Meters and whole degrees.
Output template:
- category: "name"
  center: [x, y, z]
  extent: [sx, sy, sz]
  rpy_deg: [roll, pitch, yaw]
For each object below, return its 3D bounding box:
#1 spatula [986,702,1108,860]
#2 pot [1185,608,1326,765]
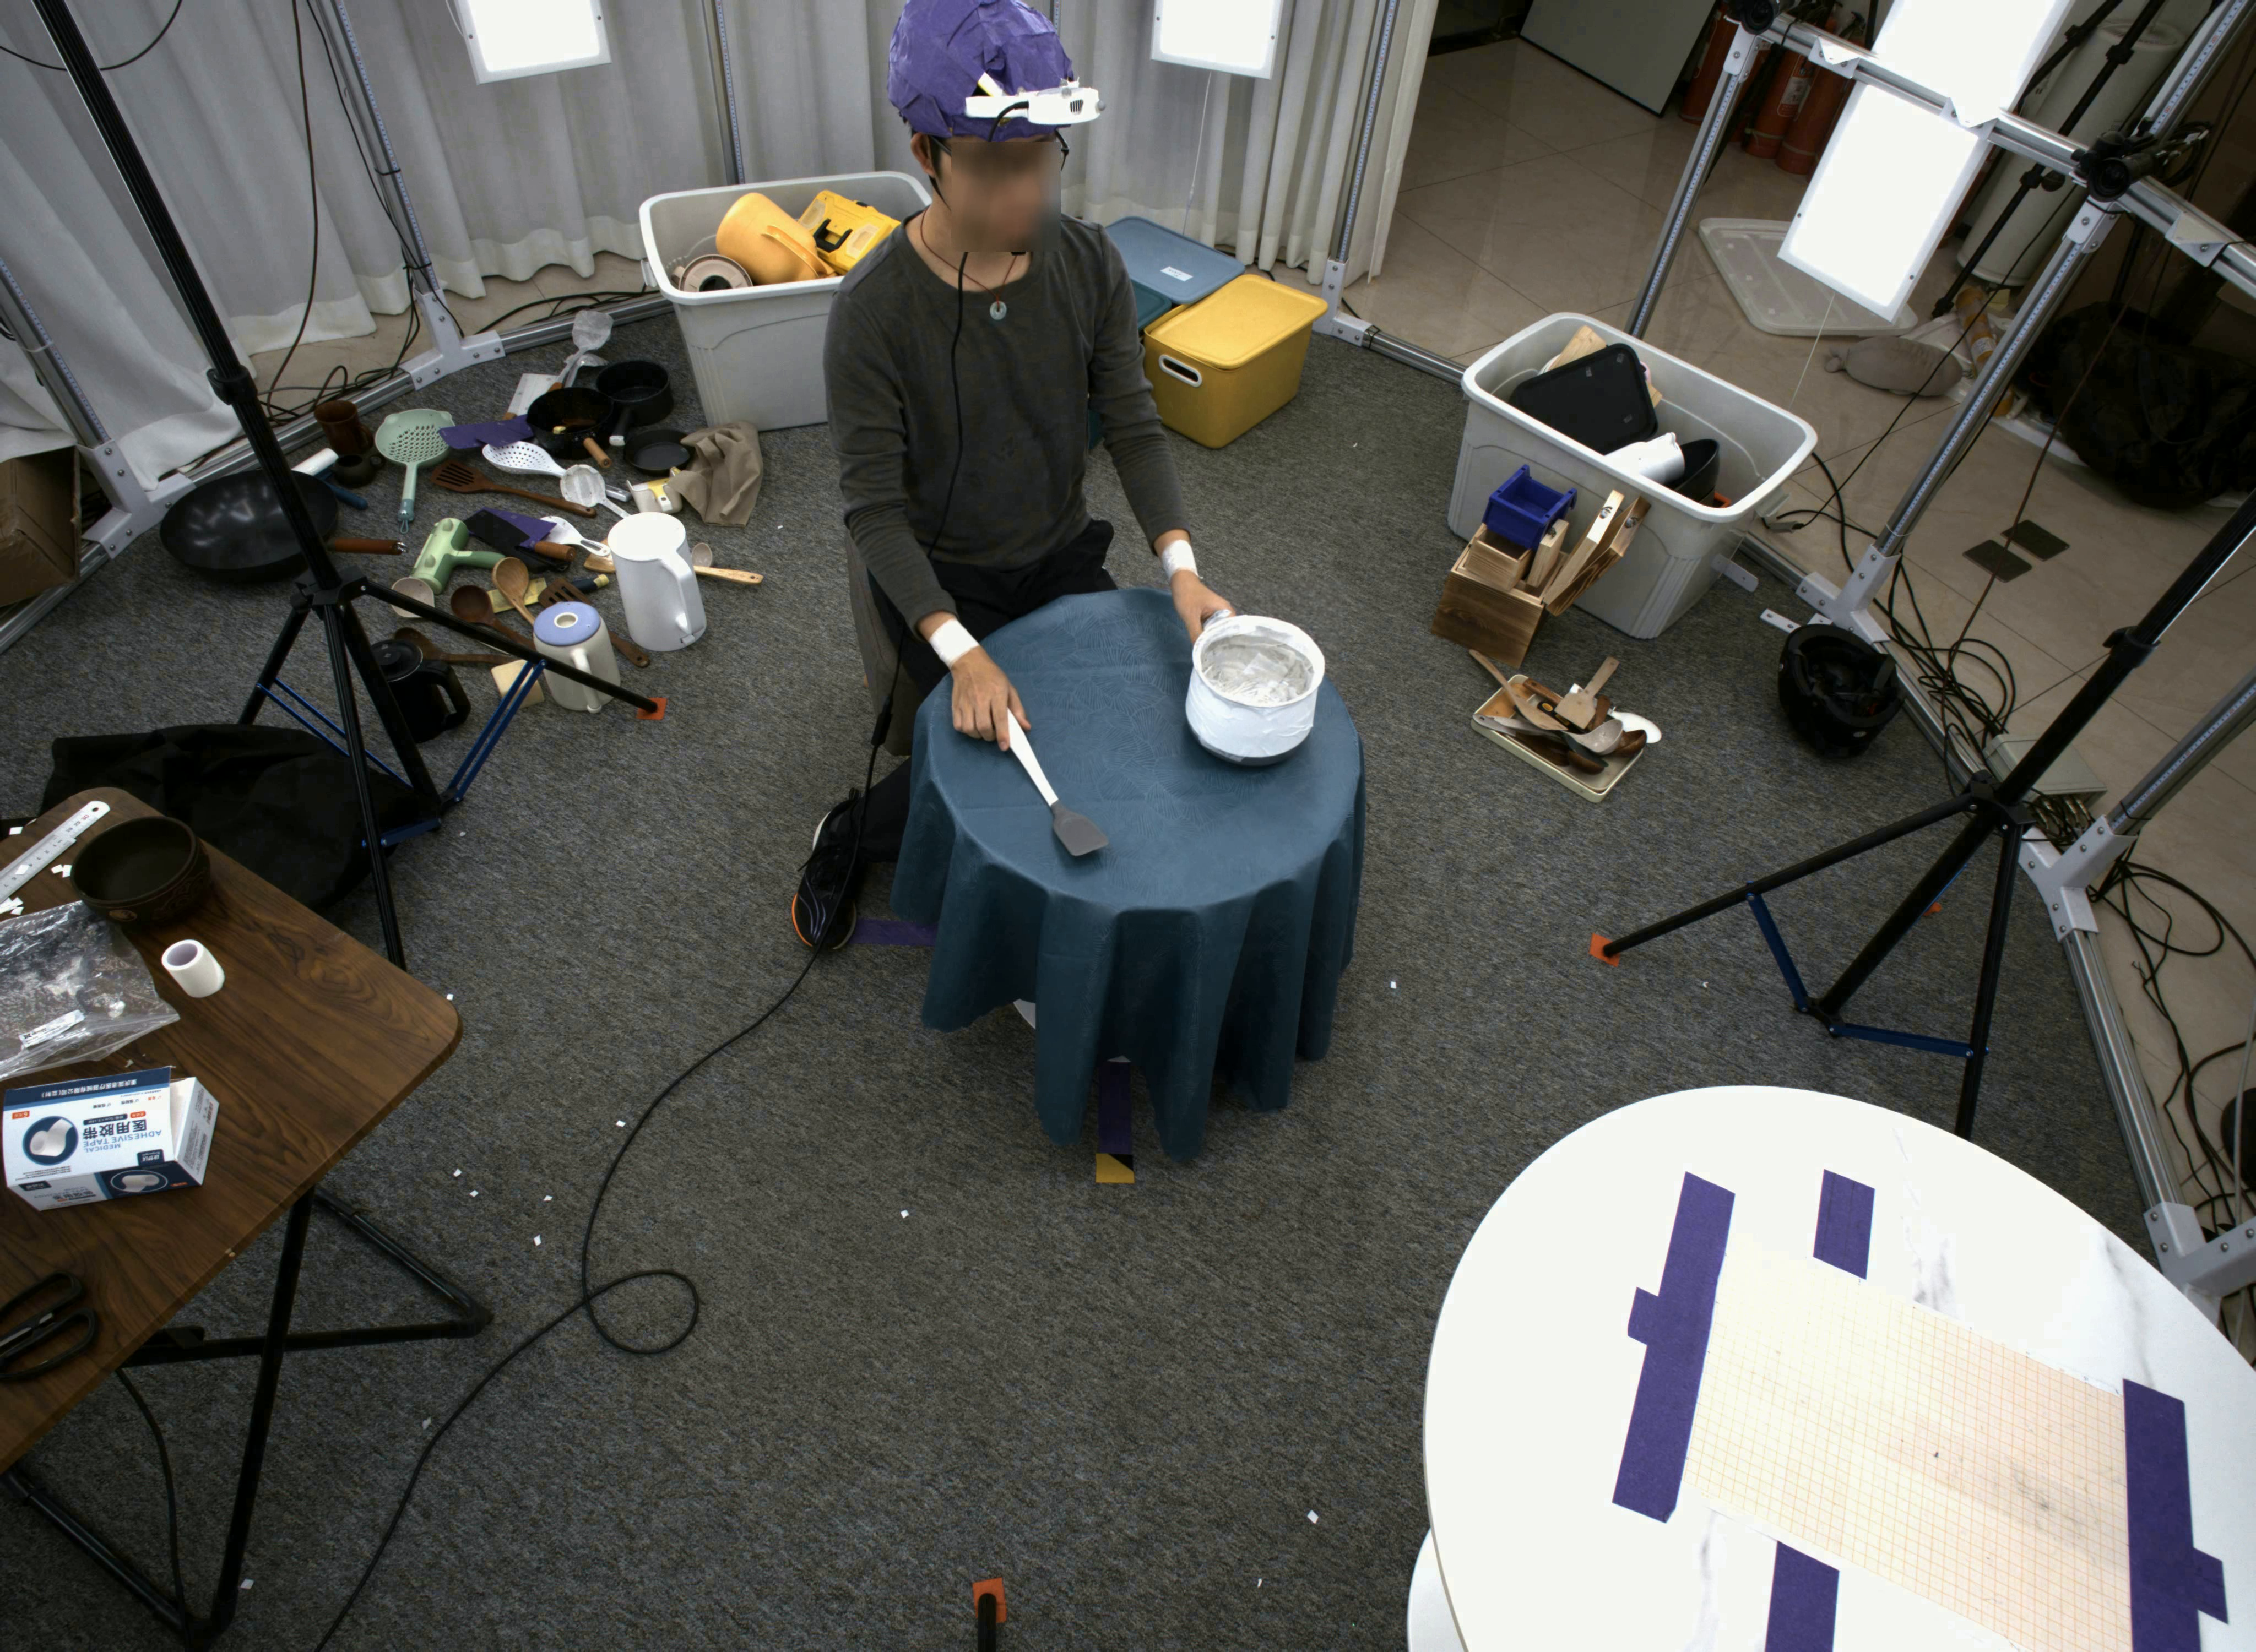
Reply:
- category: "spatula"
  center: [-0.113, -0.060, 1.689]
  extent: [0.059, 0.031, 0.294]
  rpy_deg: [-18, 53, -23]
- category: "pot"
  center: [0.158, -0.201, 1.764]
  extent: [0.179, 0.133, 0.239]
  rpy_deg: [-17, 52, -18]
